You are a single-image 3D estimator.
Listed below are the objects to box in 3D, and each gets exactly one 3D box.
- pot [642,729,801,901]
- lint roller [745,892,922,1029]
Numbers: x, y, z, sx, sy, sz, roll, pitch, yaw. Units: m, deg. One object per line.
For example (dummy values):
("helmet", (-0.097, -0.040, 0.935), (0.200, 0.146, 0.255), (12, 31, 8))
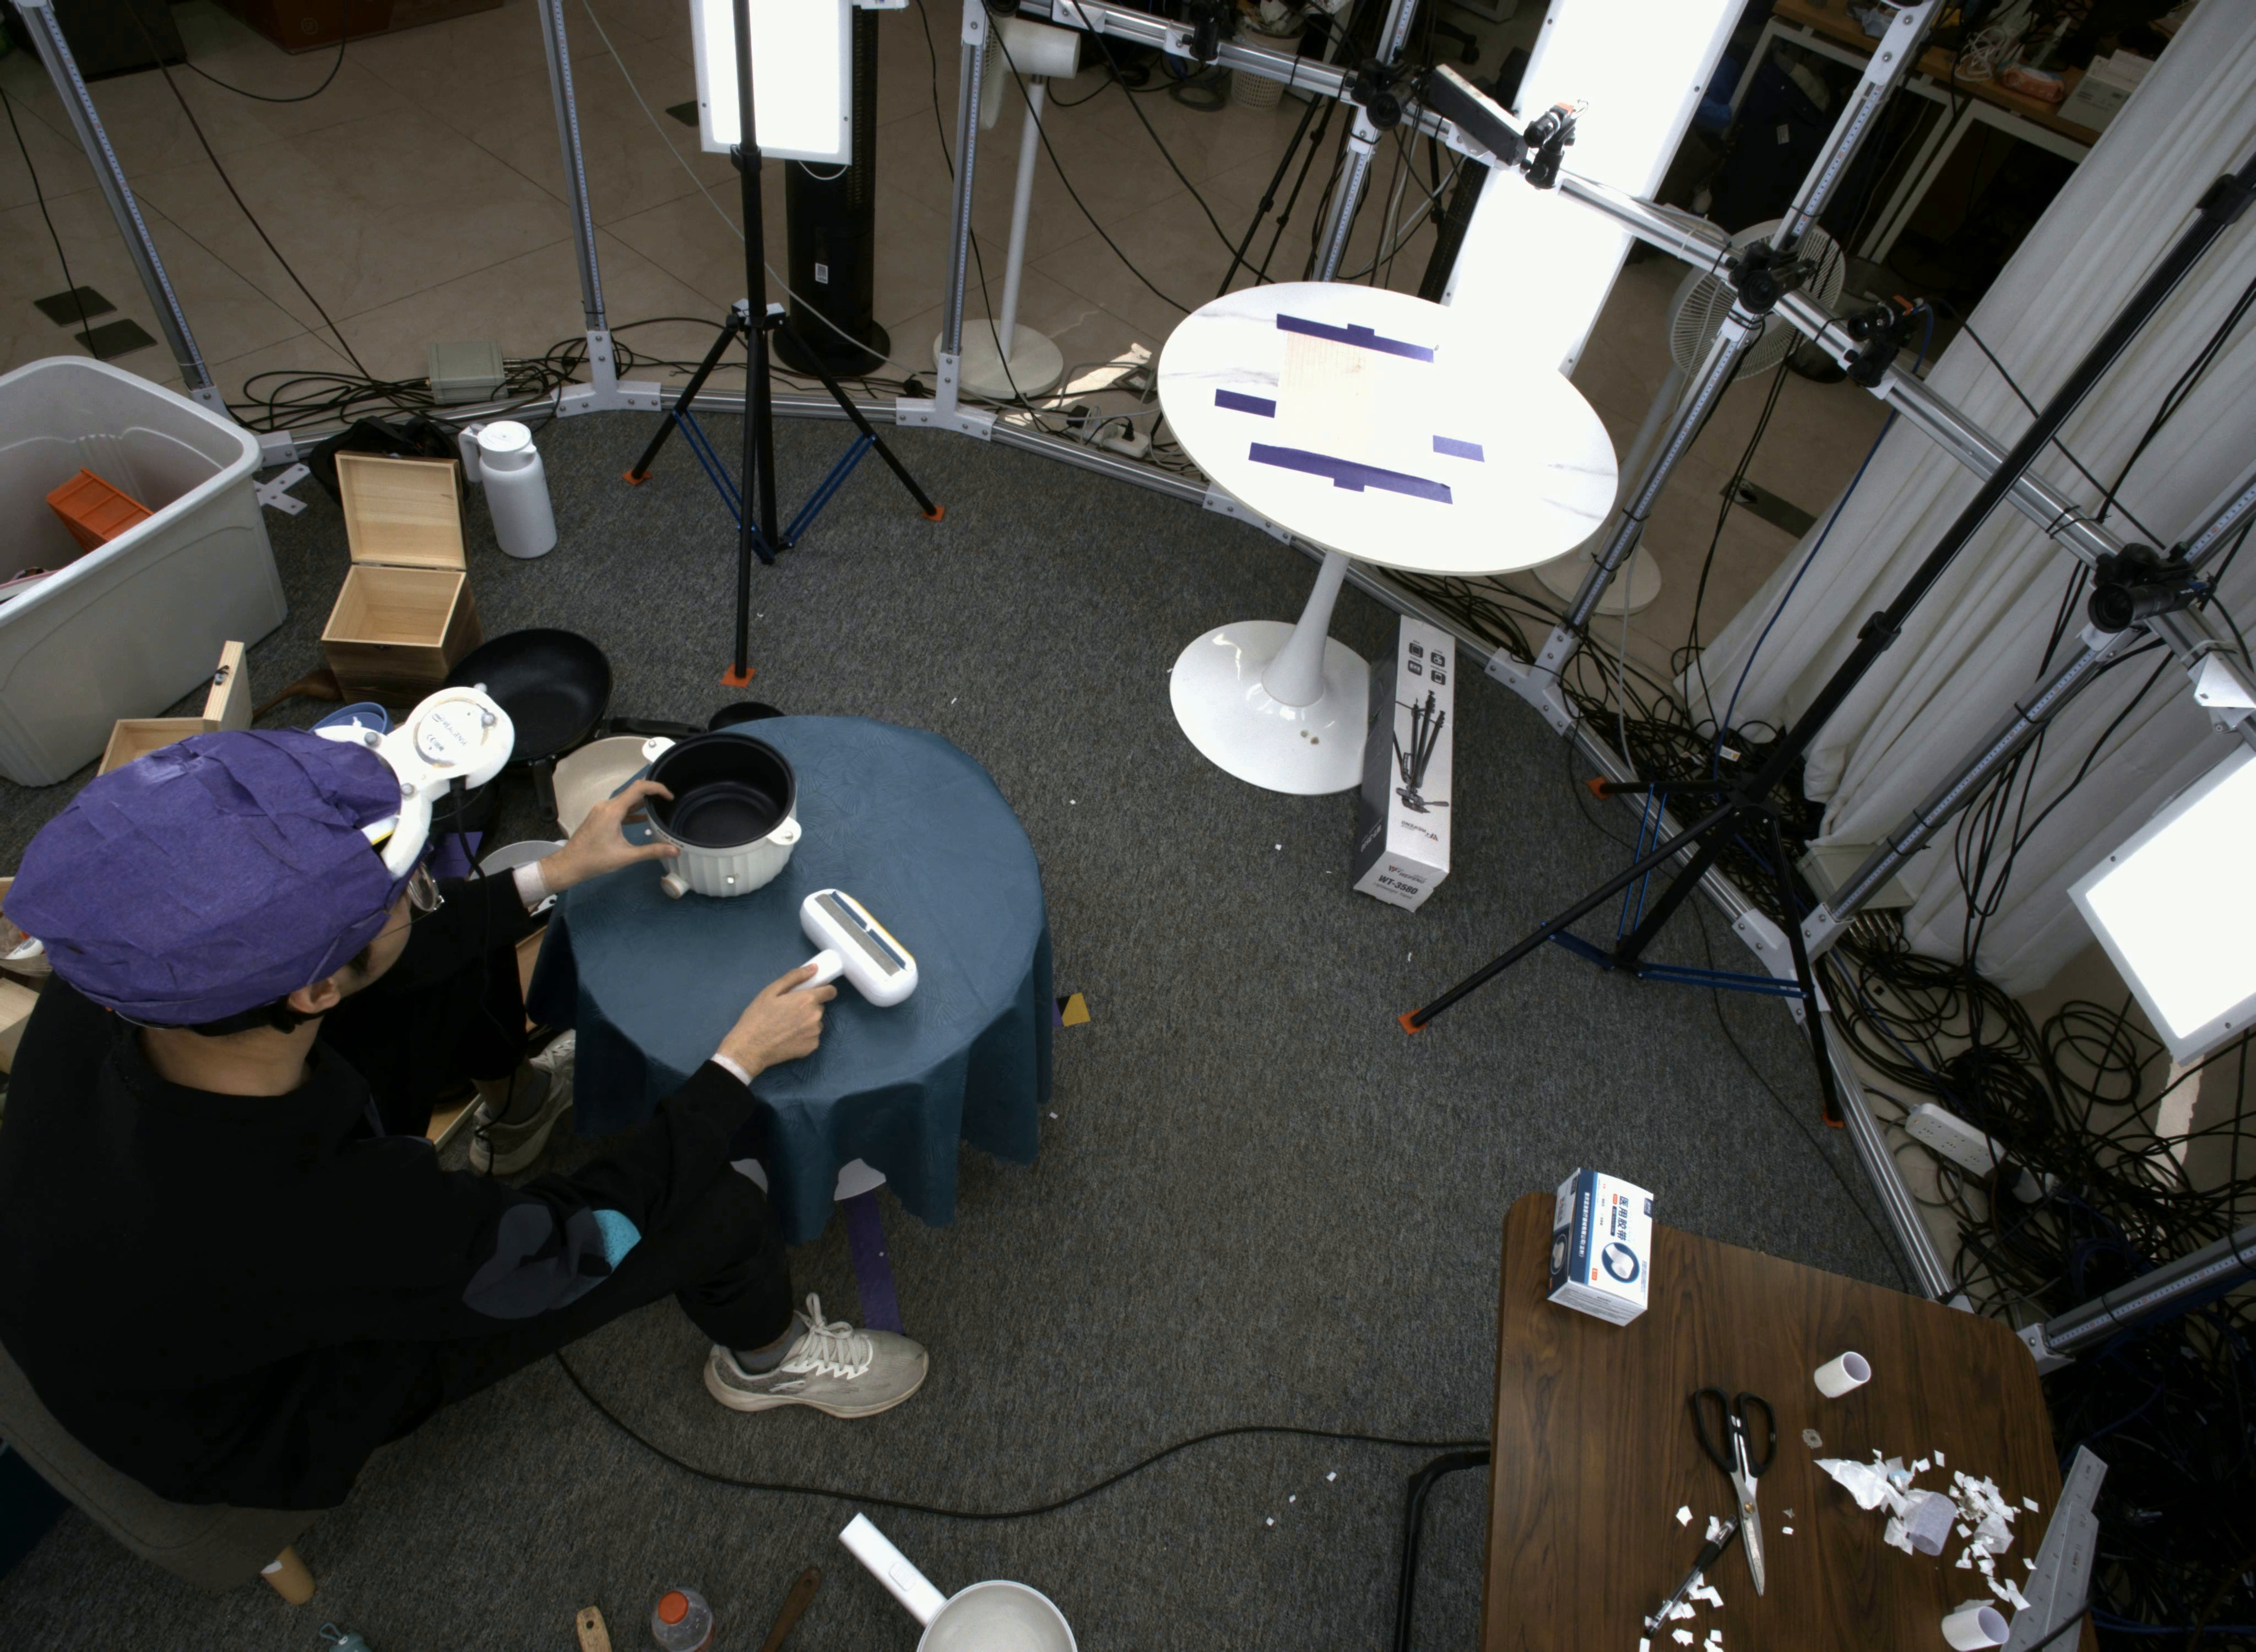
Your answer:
("pot", (-0.510, -0.005, 1.620), (0.236, 0.146, 0.190), (30, 50, 11))
("lint roller", (-0.372, 0.176, 1.564), (0.193, 0.076, 0.187), (-25, 57, -33))
